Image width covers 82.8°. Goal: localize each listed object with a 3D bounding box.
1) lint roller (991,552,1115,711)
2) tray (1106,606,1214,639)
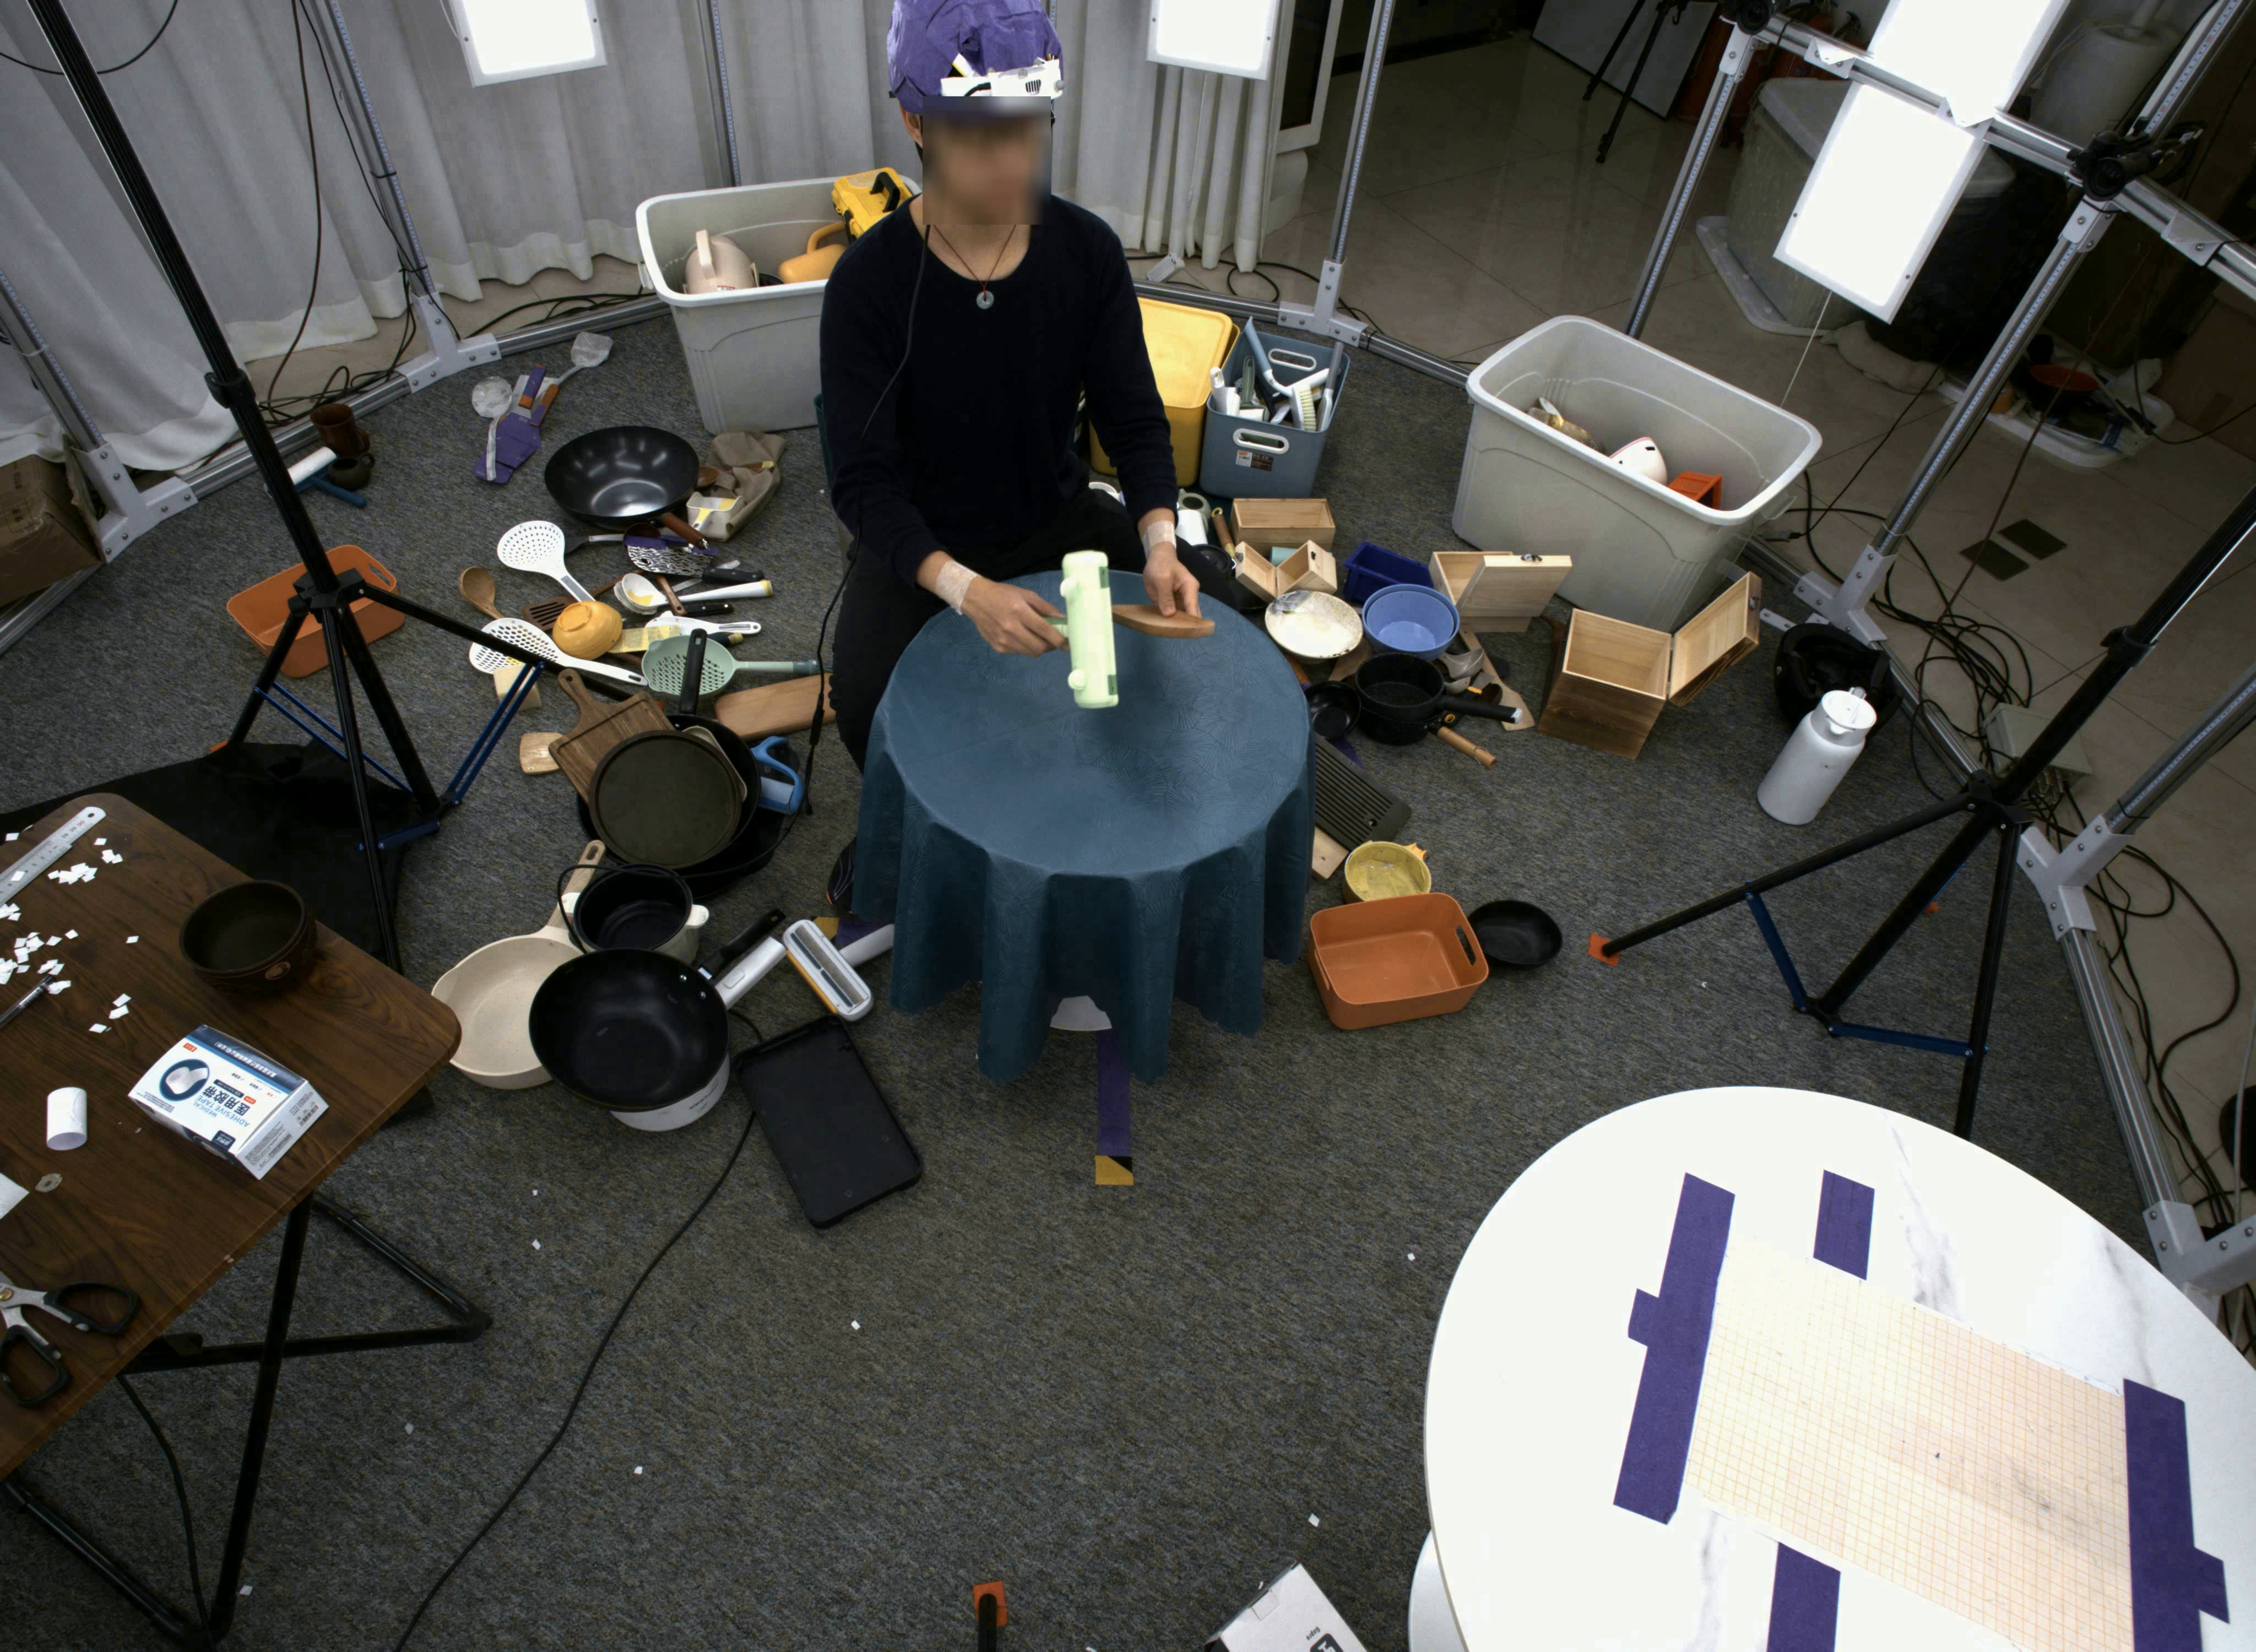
[{"bbox_3d":[-0.108,-0.246,1.646,0.184,0.196,0.083,1,15,23],"label":"lint roller"},{"bbox_3d":[0.036,-0.274,1.717,0.101,0.020,0.234,-4,16,-22],"label":"tray"}]
